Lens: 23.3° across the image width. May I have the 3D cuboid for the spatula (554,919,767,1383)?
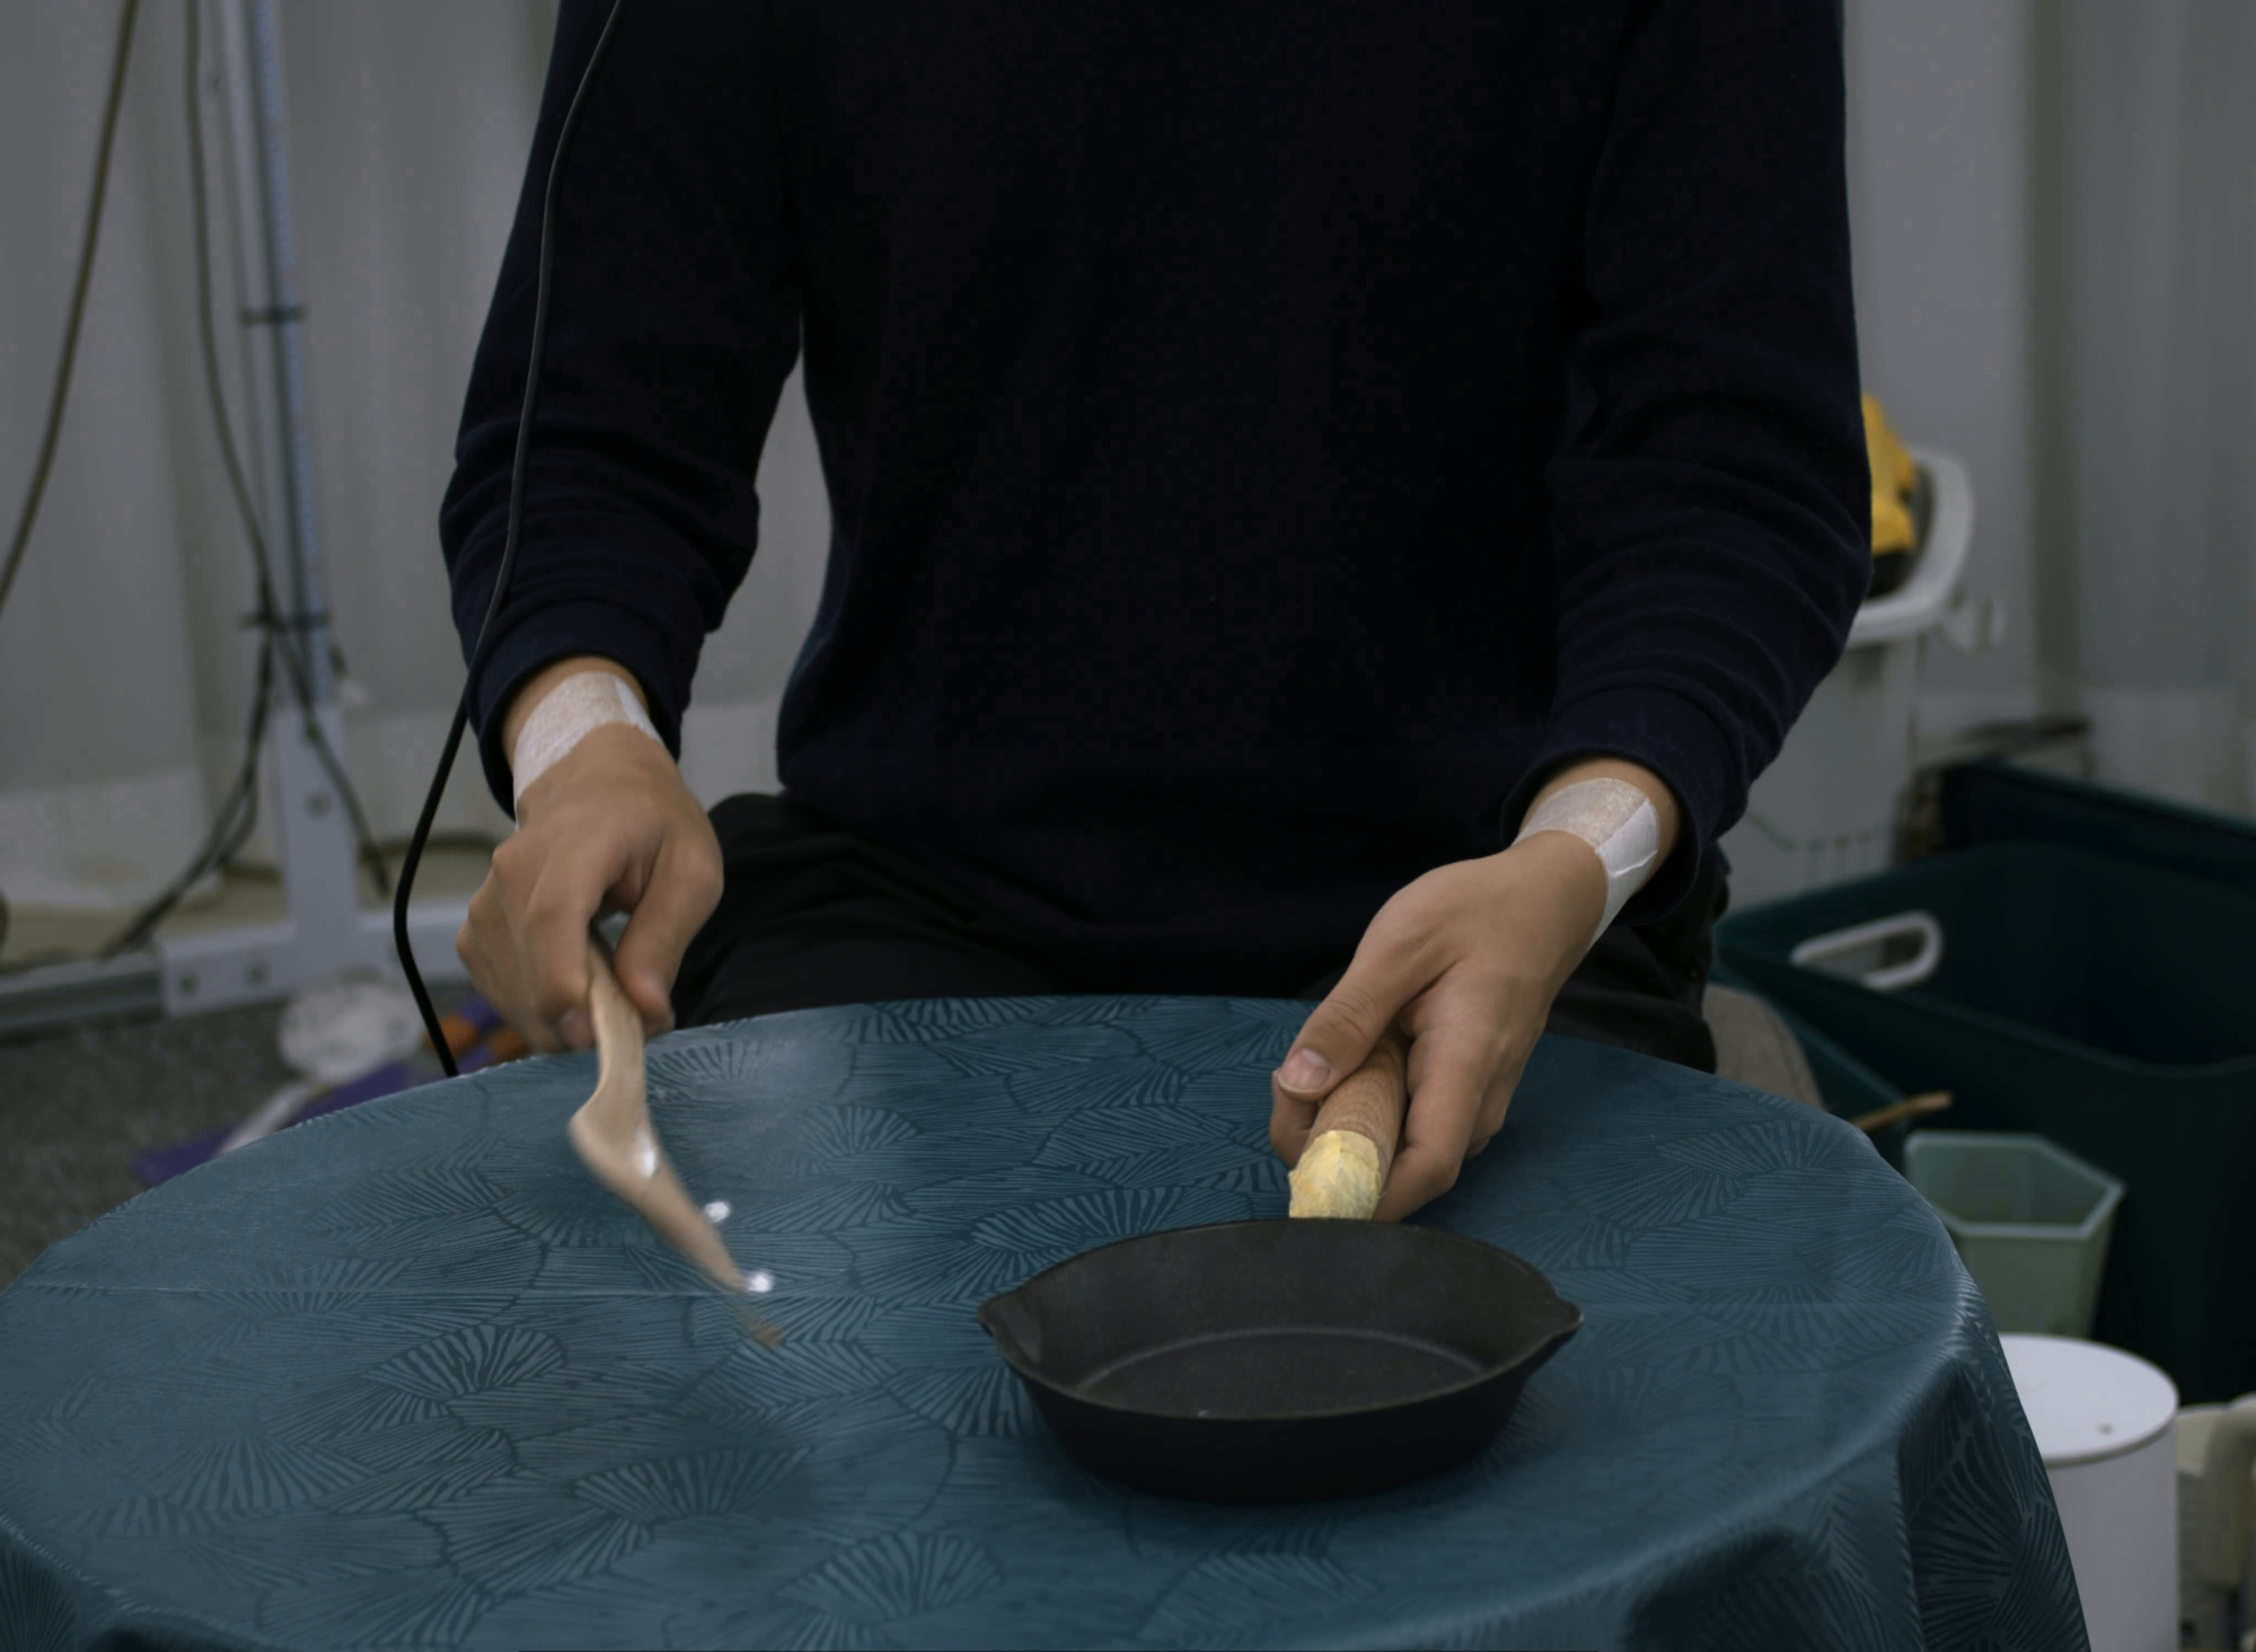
[{"bbox_3d":[-0.147,0.083,1.611,0.016,0.079,0.330,-40,19,4],"label":"spatula"}]

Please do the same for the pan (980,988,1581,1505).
[{"bbox_3d":[0.059,0.119,1.591,0.169,0.049,0.326,0,17,13],"label":"pan"}]
